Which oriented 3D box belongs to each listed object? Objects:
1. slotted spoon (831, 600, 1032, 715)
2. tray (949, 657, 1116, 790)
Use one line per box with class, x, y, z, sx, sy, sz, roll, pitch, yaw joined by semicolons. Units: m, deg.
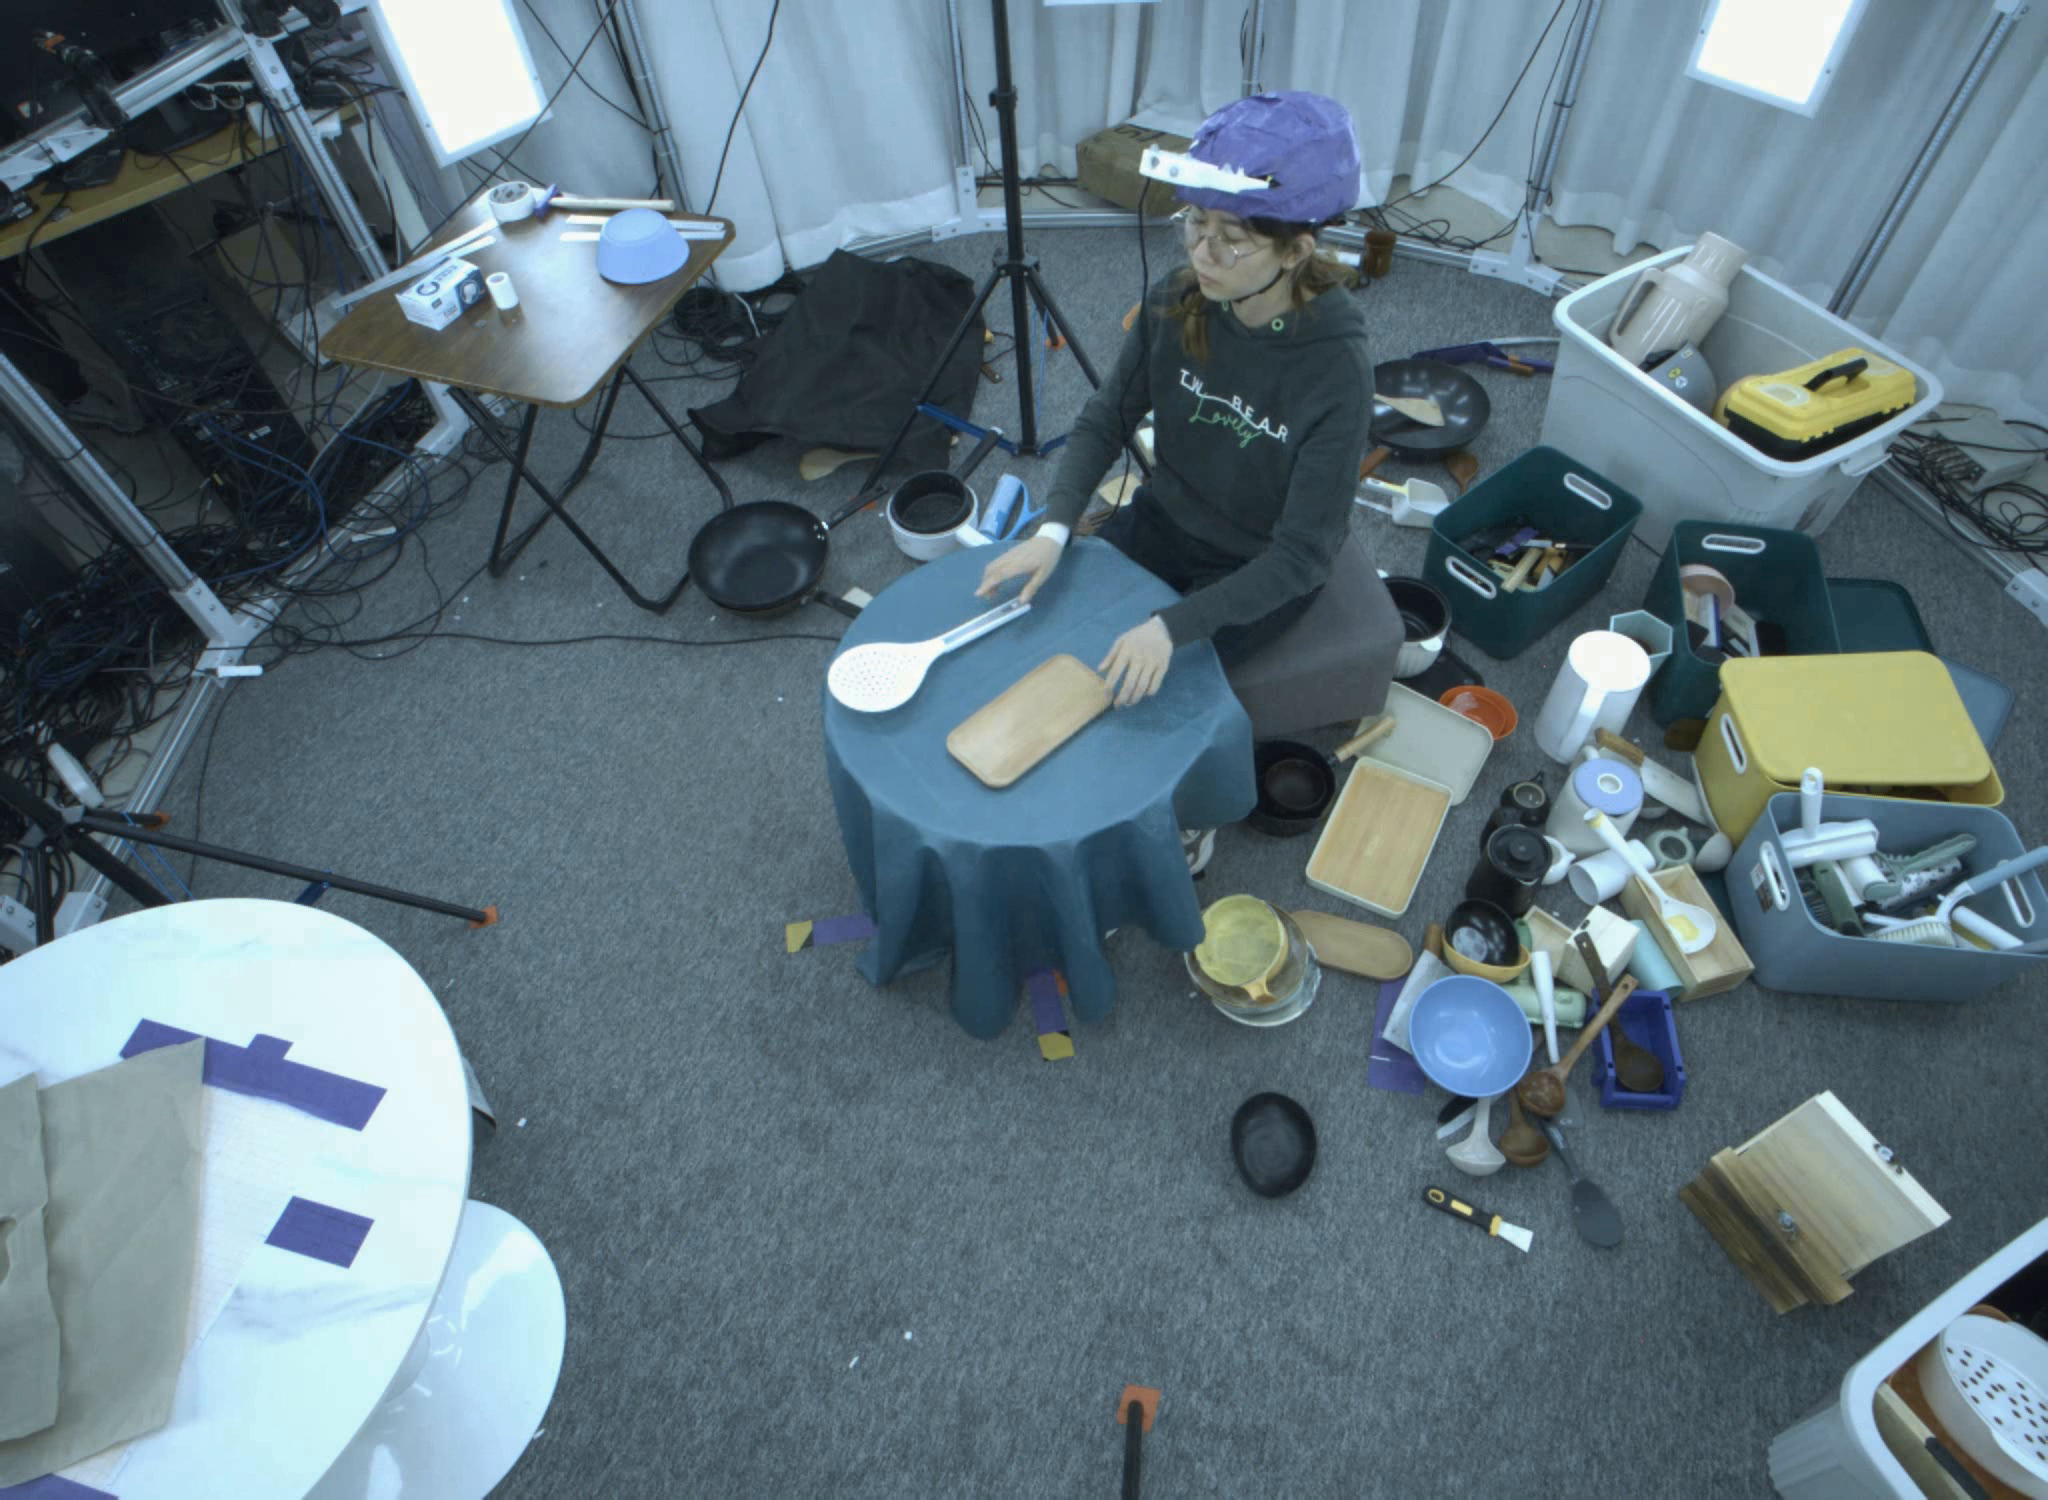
slotted spoon;-0.135;-0.151;1.880;0.352;0.046;0.133;-32;61;-20
tray;0.014;-0.041;1.816;0.252;0.023;0.128;-37;64;-23
